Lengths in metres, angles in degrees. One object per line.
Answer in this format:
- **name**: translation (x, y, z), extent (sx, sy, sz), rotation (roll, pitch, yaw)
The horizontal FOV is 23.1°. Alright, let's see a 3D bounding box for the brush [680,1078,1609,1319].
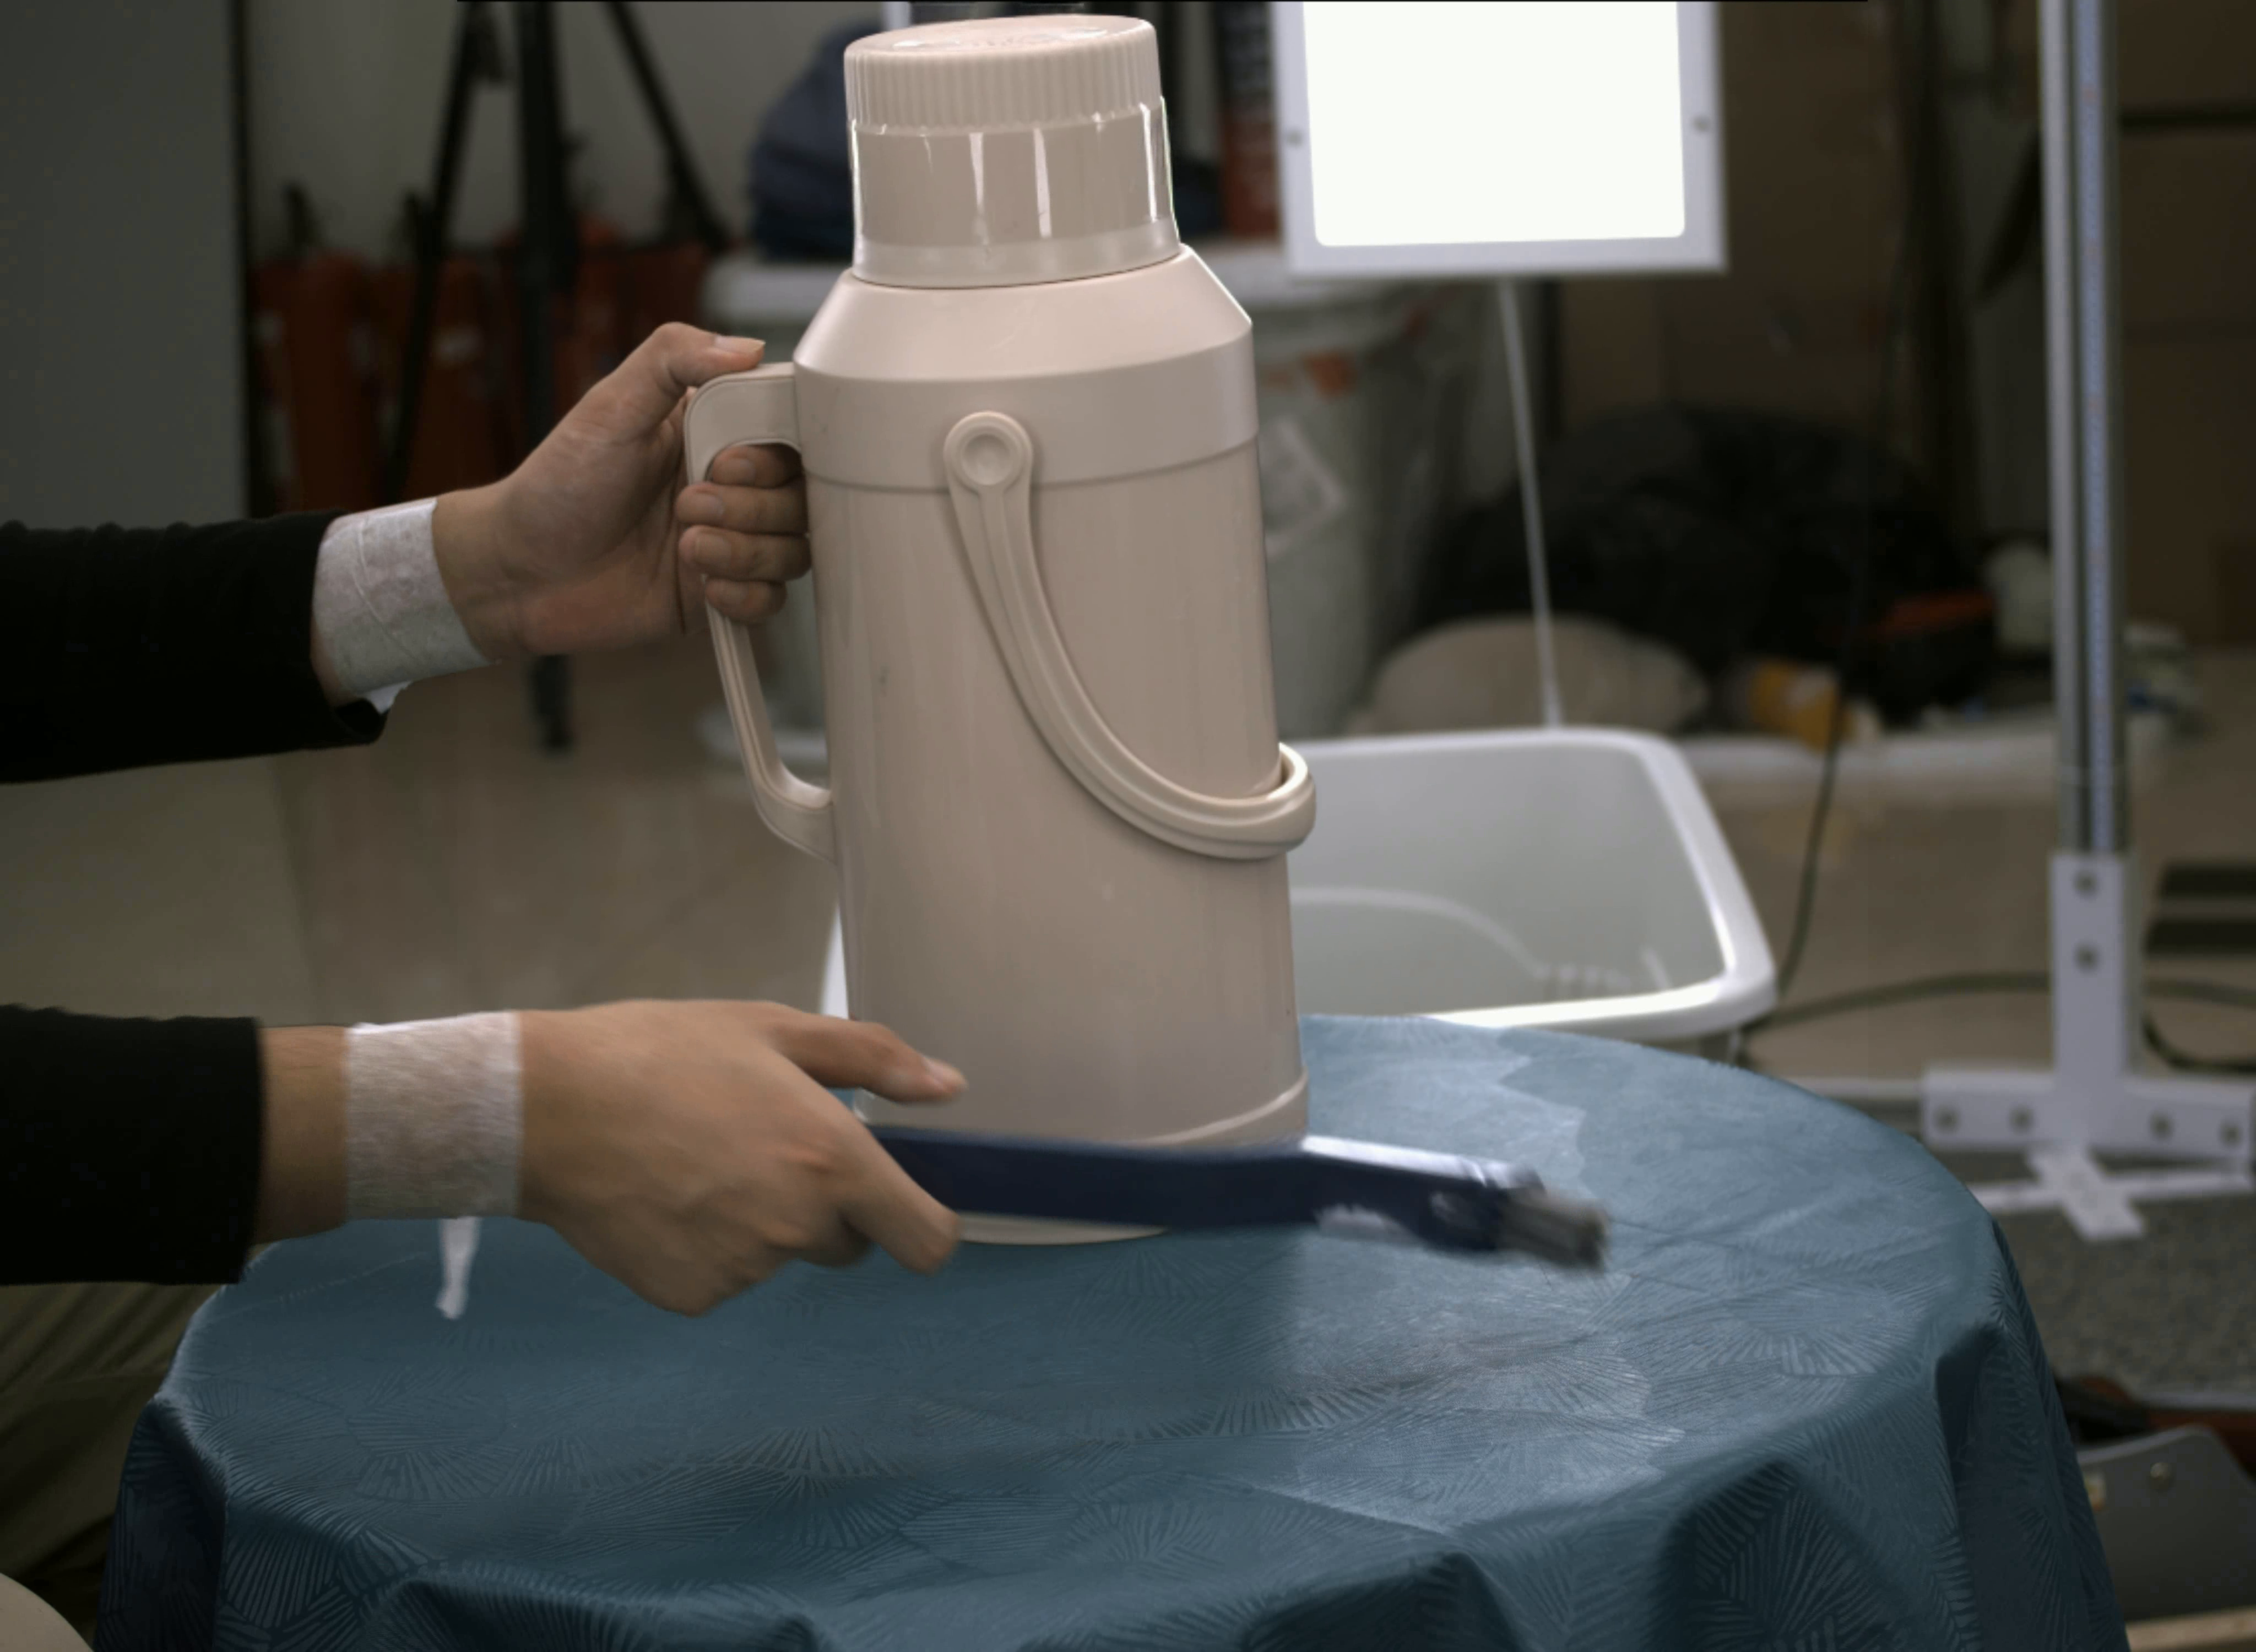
- **brush**: translation (0.003, 0.111, 1.651), extent (0.271, 0.034, 0.096), rotation (6, 10, -8)

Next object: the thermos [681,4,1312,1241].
- **thermos**: translation (-0.044, -0.070, 1.881), extent (0.208, 0.408, 0.174), rotation (-2, 16, 9)
